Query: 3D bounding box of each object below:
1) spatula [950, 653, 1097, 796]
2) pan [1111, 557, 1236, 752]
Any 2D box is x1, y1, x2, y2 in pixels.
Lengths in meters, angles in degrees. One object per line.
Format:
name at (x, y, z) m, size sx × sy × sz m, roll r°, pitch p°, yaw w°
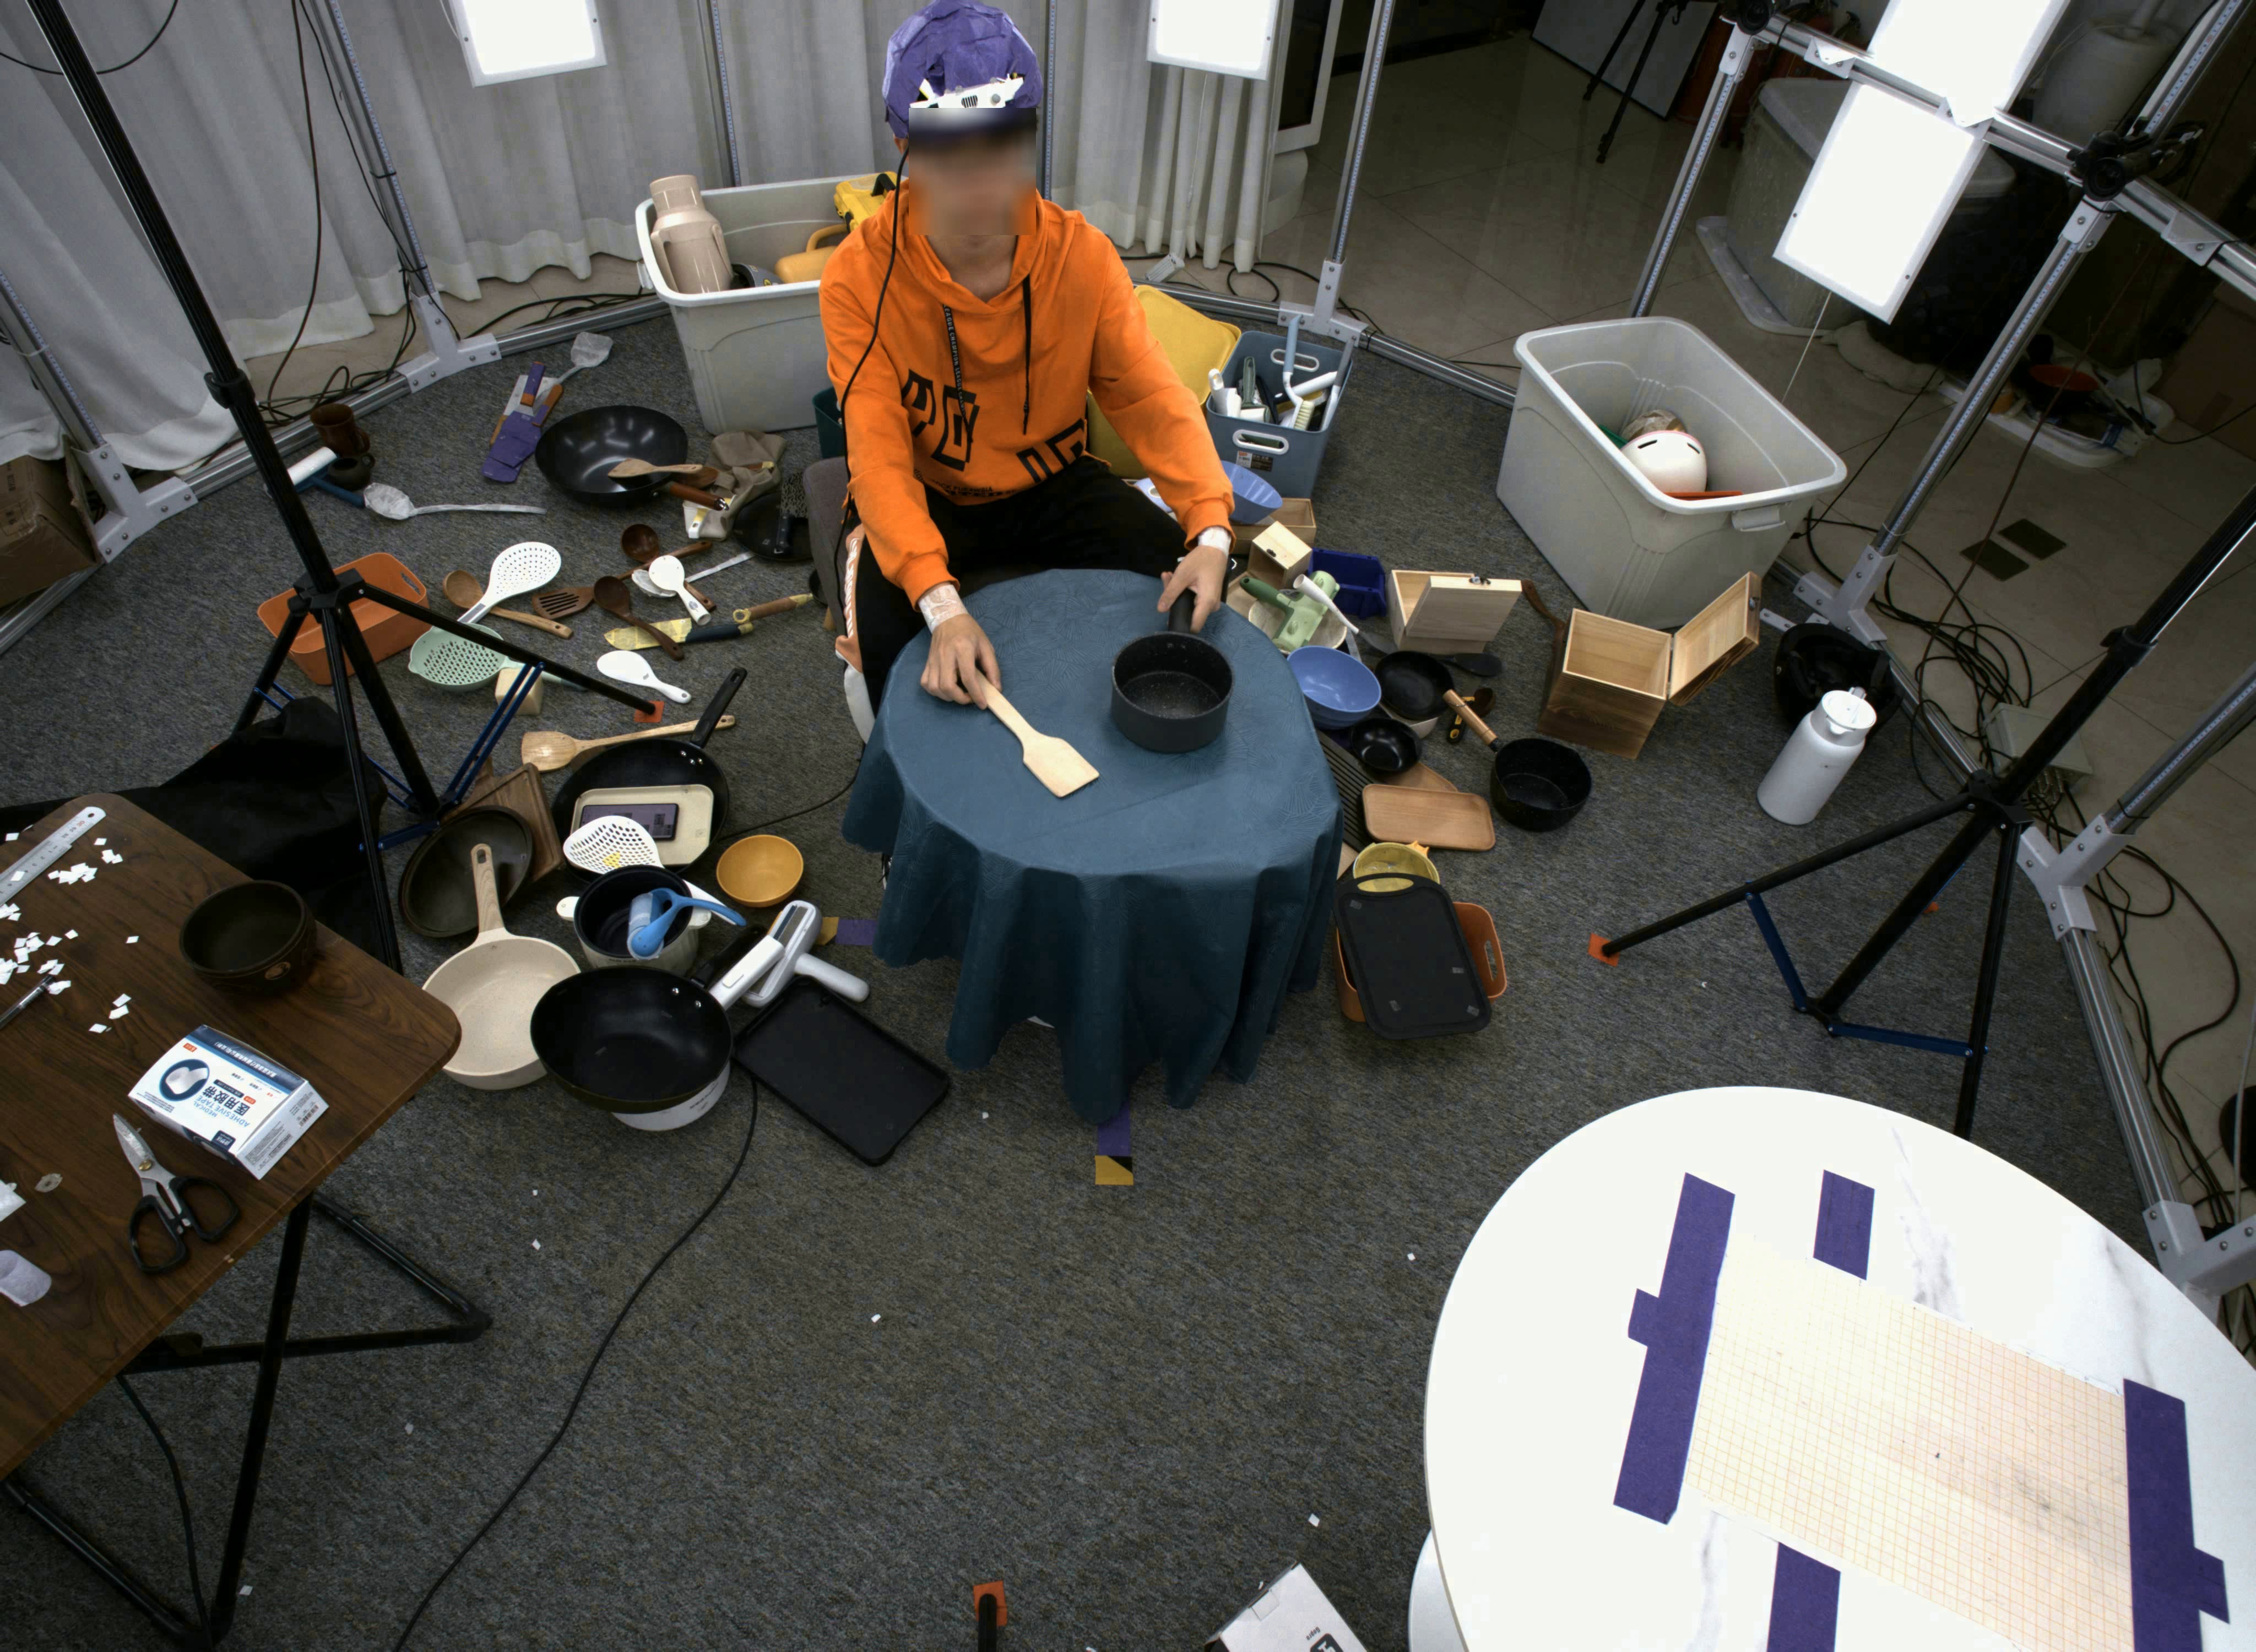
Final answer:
spatula at (-0.157, -0.147, 1.774) m, size 0.073 × 0.010 × 0.298 m, roll -30°, pitch 60°, yaw -24°
pan at (0.072, -0.248, 1.834) m, size 0.172 × 0.084 × 0.336 m, roll 9°, pitch 51°, yaw 3°
